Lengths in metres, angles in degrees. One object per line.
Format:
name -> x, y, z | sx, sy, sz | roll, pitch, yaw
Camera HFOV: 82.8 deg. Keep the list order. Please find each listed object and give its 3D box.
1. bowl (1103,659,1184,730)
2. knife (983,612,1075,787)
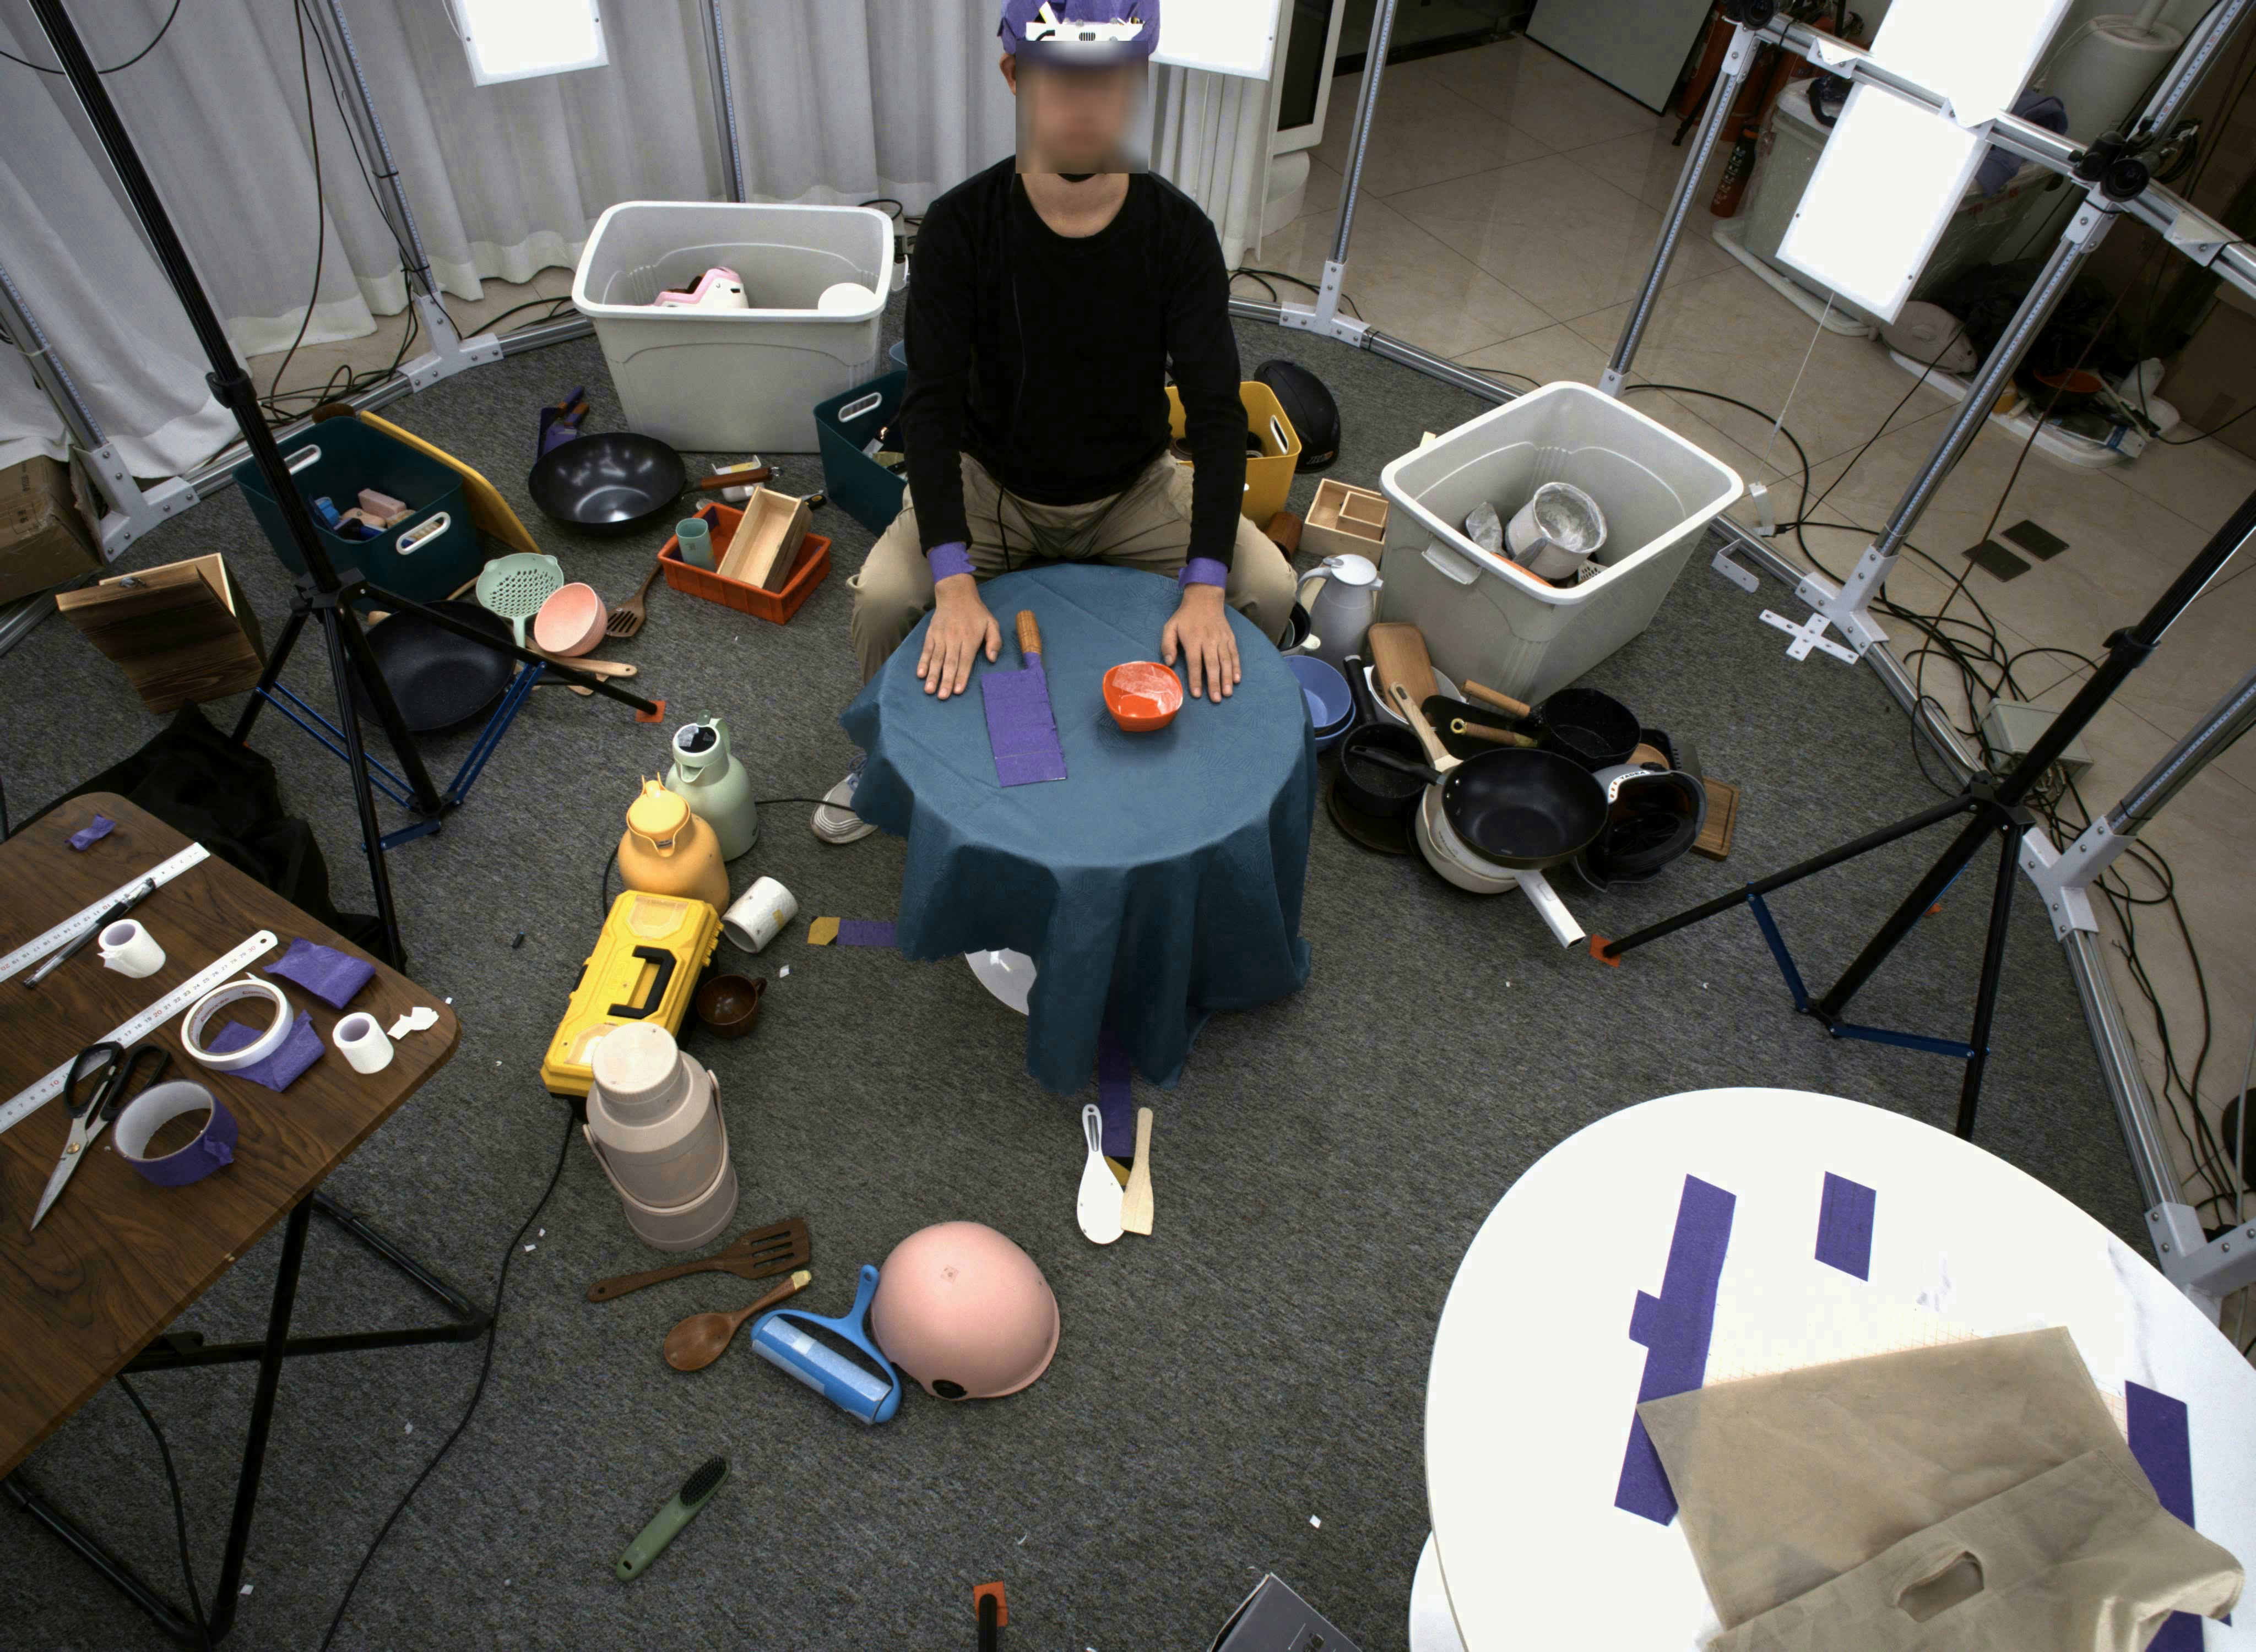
bowl -> 0.020, -0.176, 1.786 | 0.119, 0.050, 0.122 | 1, 53, -2
knife -> -0.152, -0.182, 1.801 | 0.104, 0.031, 0.323 | -7, 51, -10
